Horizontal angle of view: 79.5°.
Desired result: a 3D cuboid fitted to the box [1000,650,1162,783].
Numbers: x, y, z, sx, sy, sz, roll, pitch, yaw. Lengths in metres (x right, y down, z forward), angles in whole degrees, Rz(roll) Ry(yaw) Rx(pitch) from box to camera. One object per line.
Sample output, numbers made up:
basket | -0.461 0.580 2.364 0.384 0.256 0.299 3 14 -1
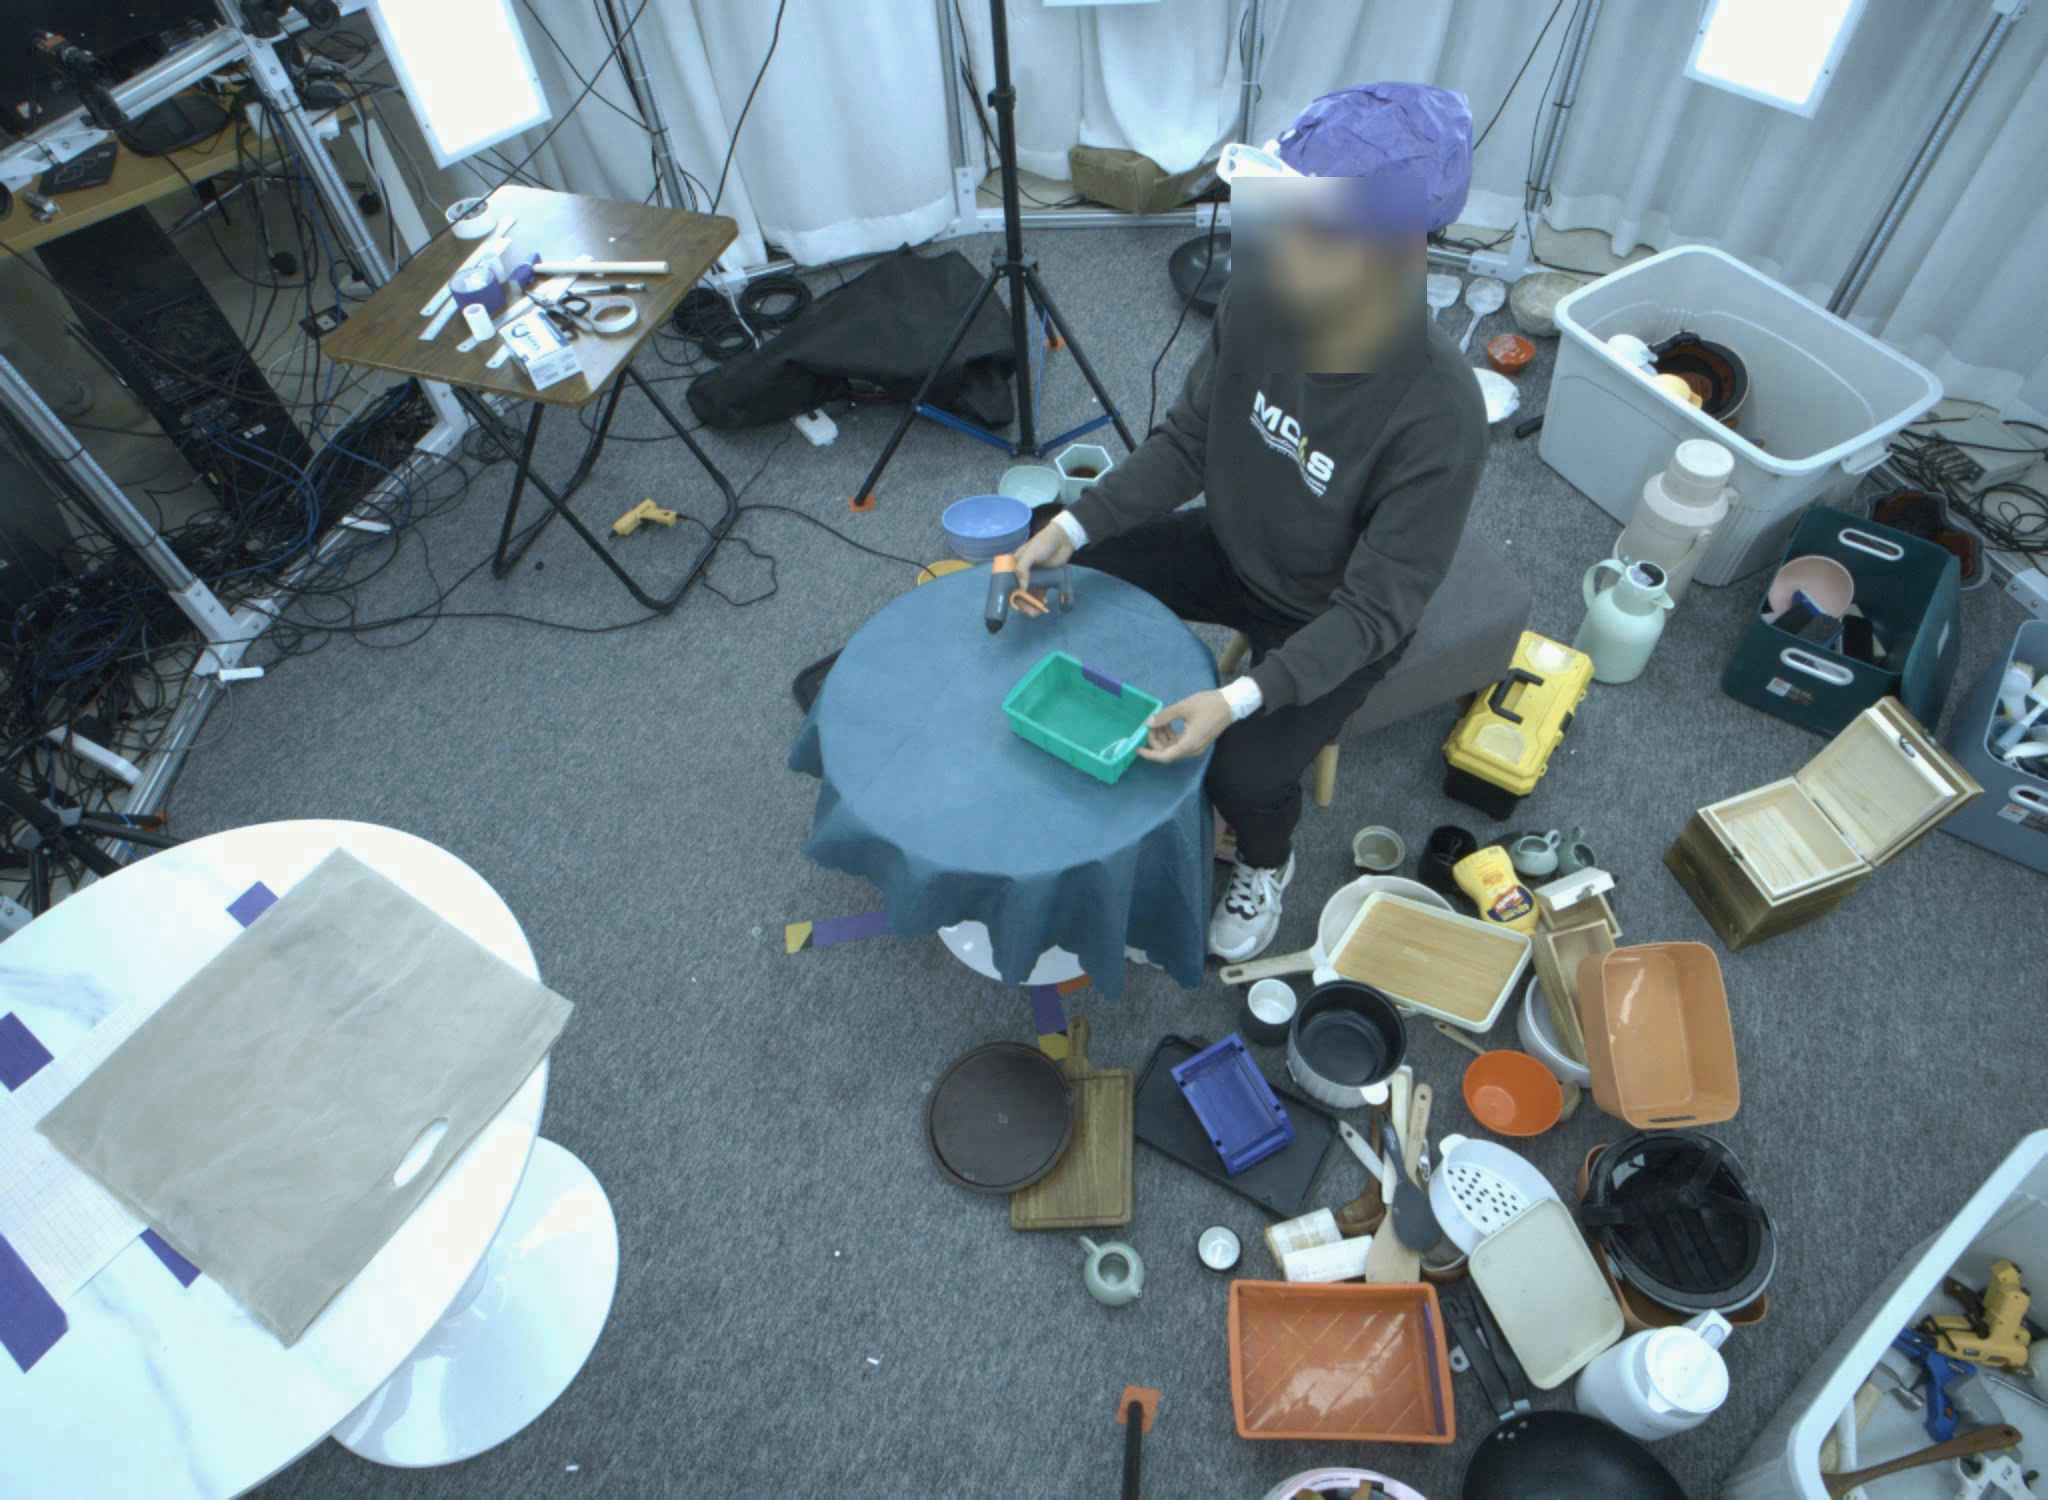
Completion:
box | 0.083 -0.046 1.773 0.206 0.066 0.139 27 59 25

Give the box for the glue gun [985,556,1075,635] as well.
glue gun | 0.004 -0.239 1.880 0.141 0.040 0.118 -6 96 -19
